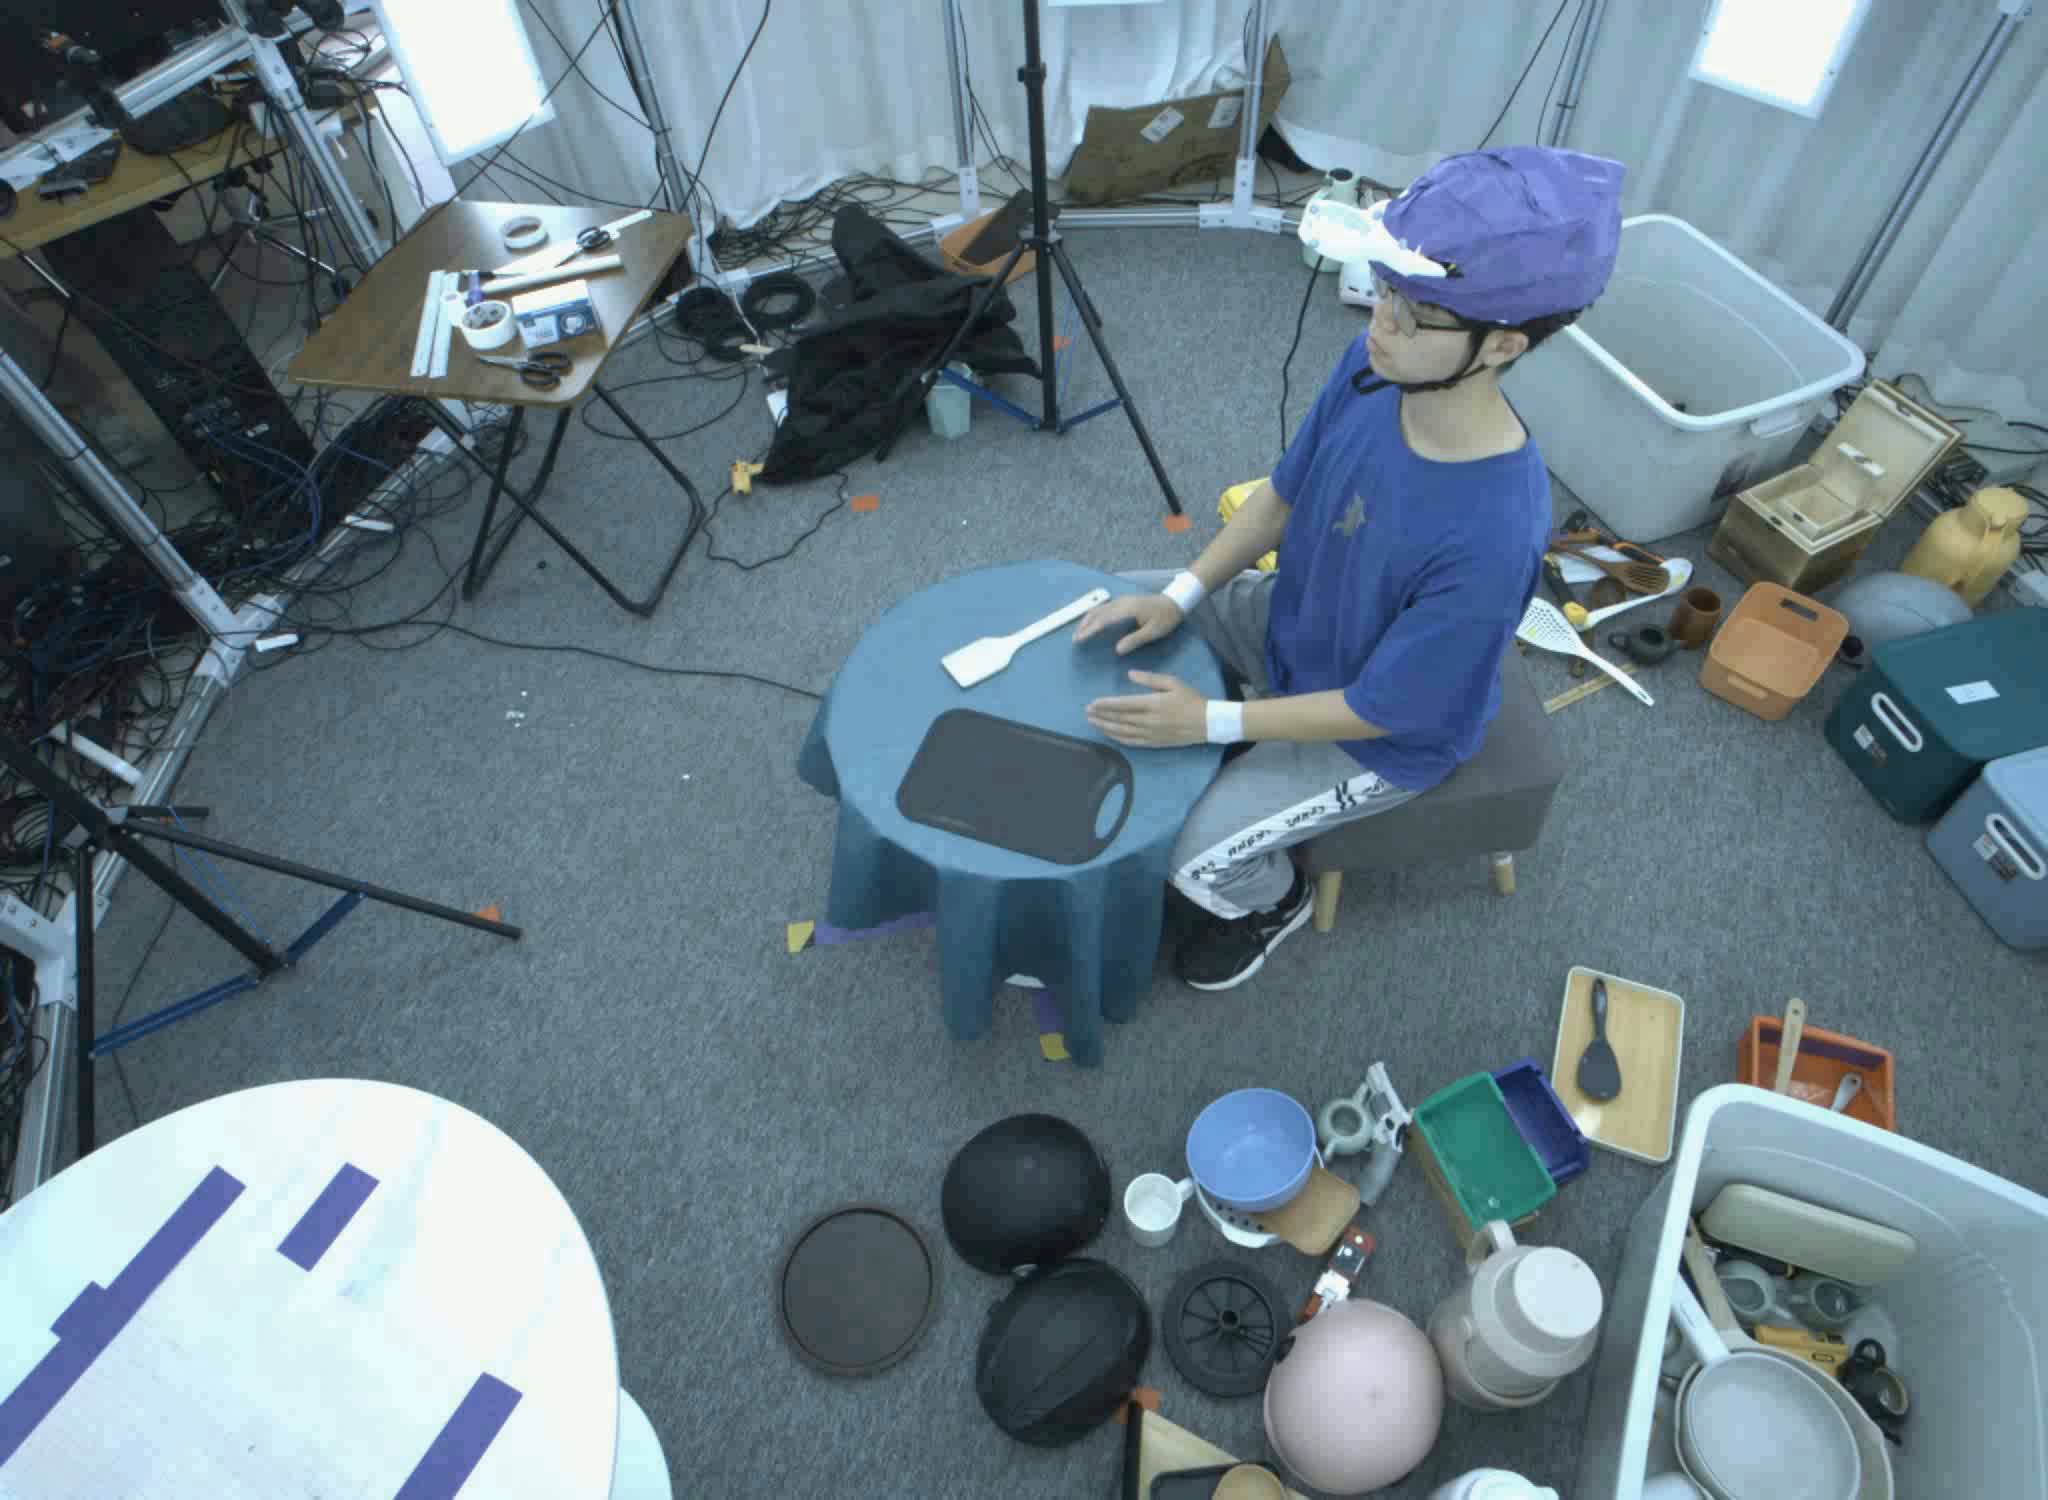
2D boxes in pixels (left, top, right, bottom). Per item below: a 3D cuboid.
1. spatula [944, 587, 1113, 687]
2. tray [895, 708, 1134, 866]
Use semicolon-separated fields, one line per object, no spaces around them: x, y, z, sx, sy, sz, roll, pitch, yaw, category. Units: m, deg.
0.014;-0.184;1.903;0.295;0.011;0.071;-29;57;-17;spatula
-0.007;0.048;1.739;0.322;0.010;0.211;16;57;13;tray
